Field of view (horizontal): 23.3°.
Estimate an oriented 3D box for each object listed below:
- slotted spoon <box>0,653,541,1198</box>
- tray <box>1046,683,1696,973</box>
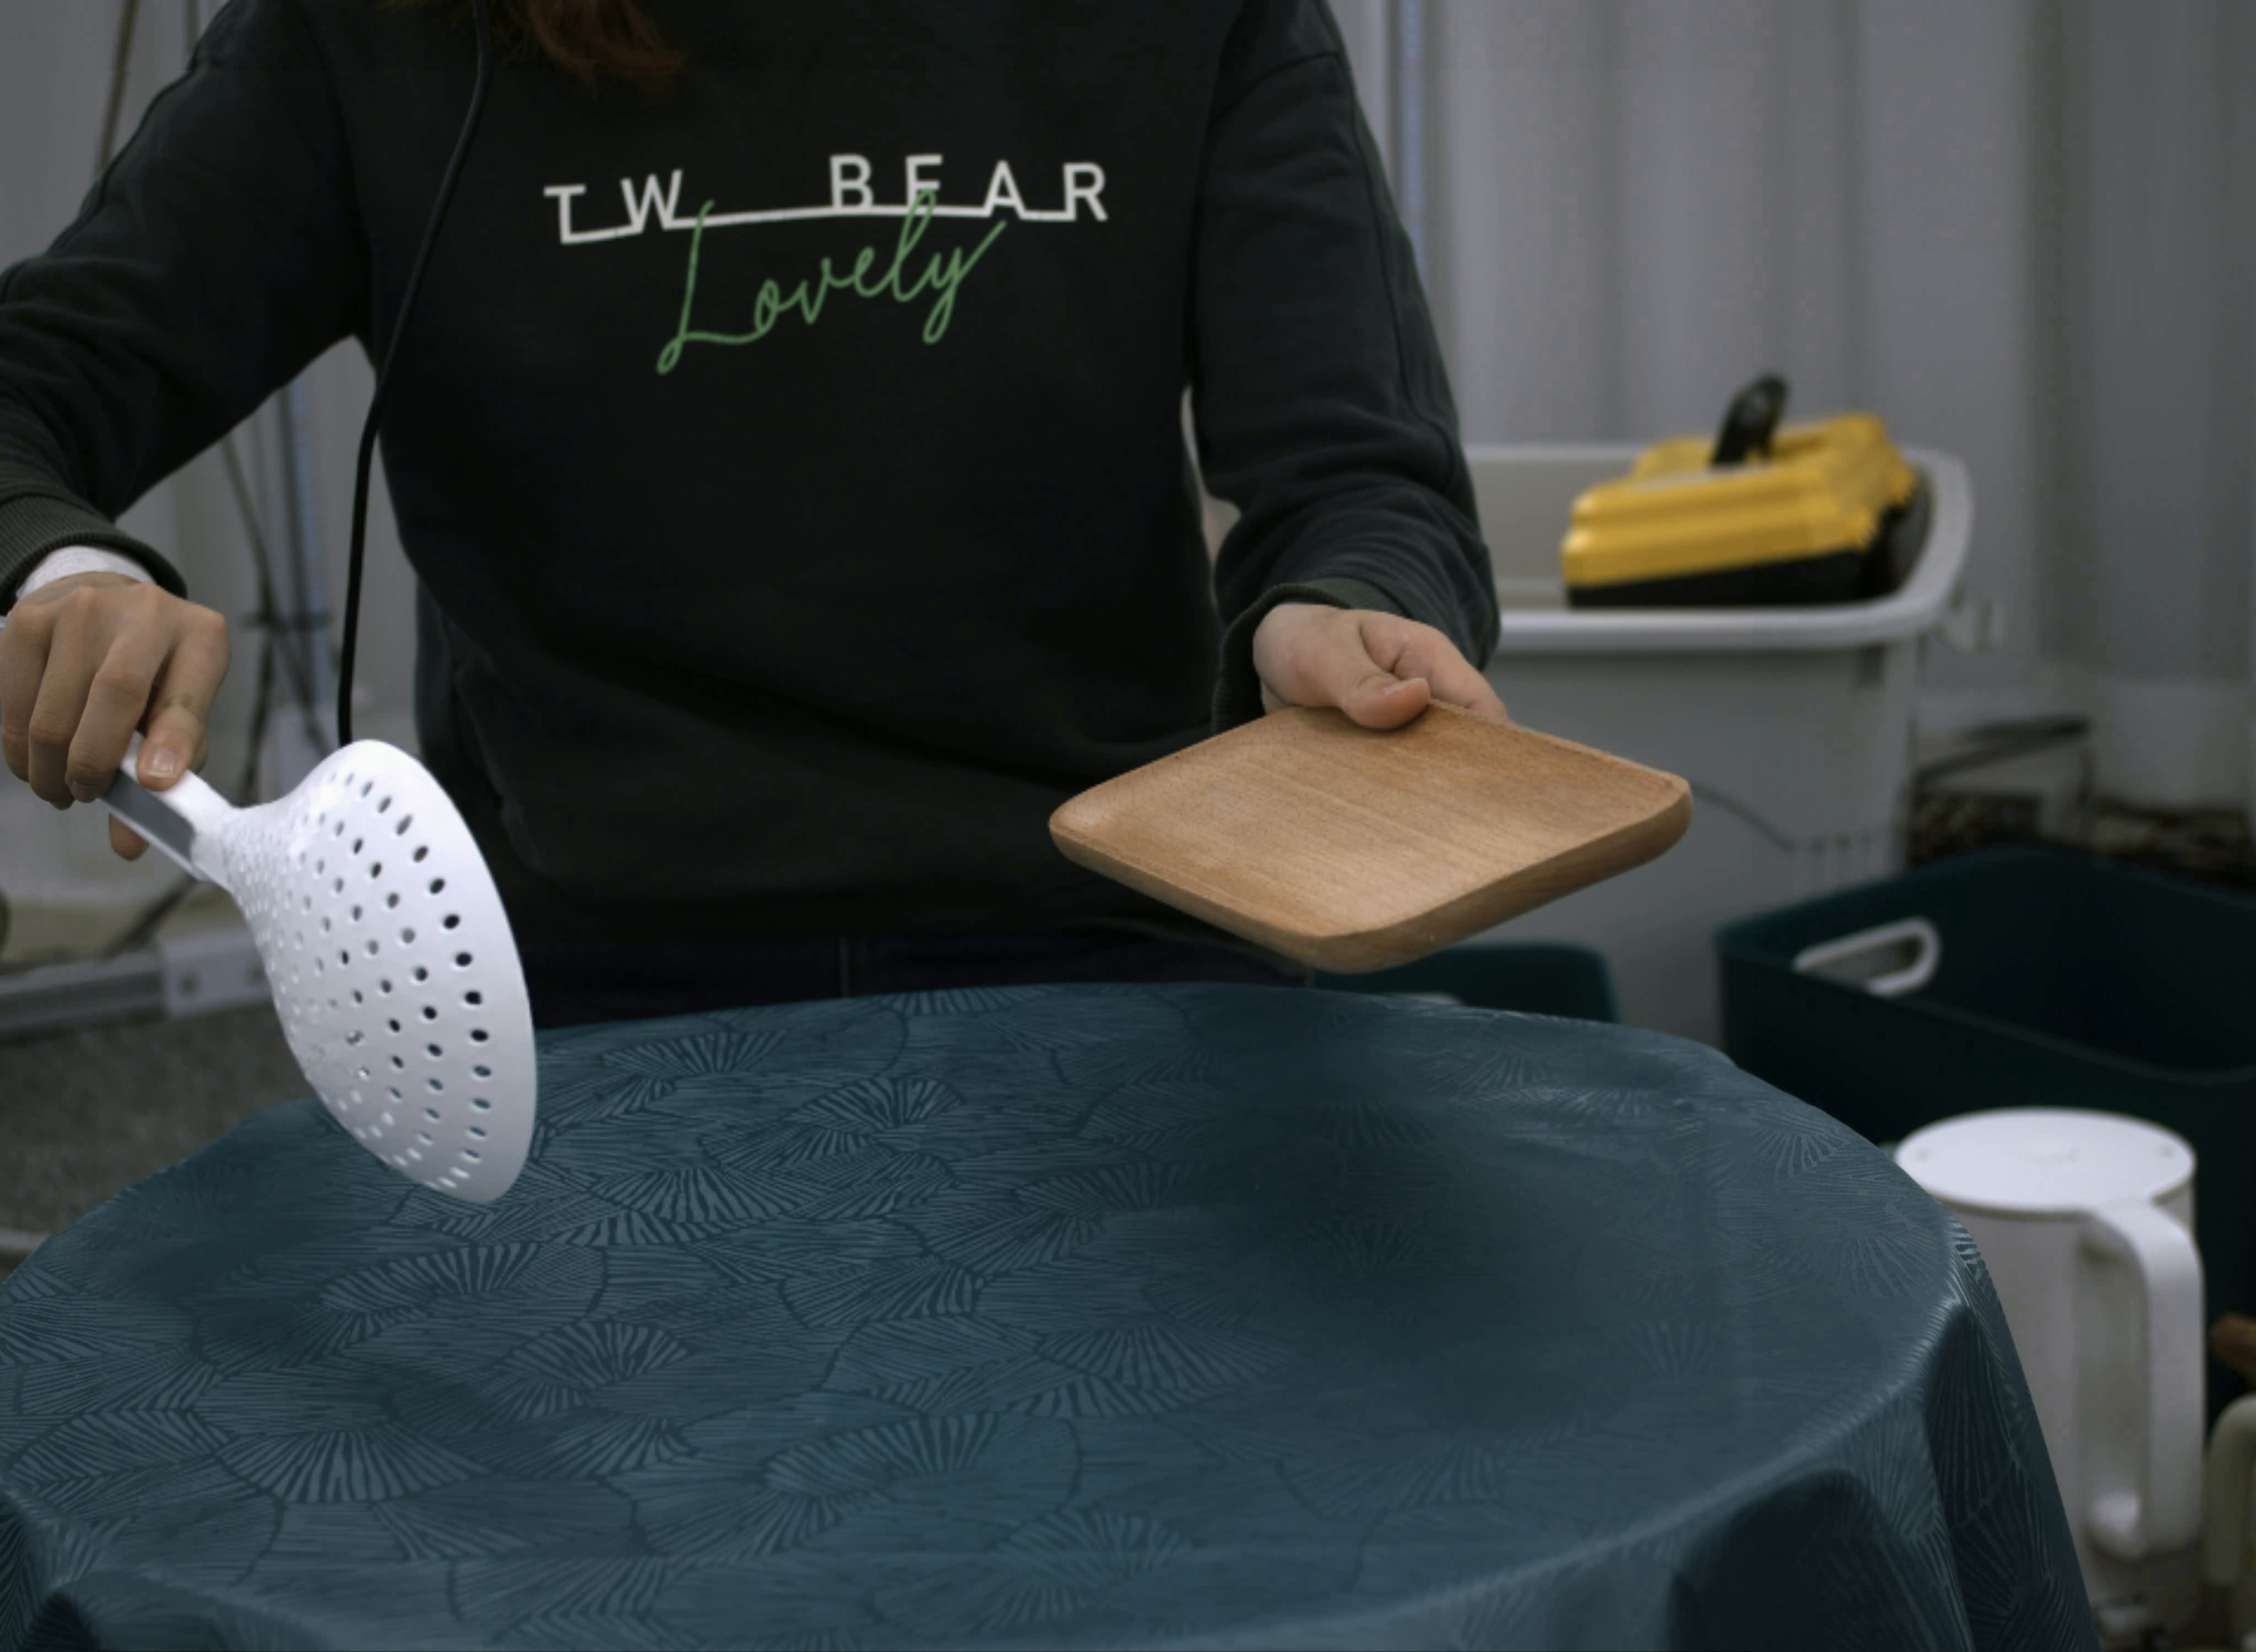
[{"bbox_3d":[-0.266,0.008,1.639,0.045,0.135,0.353,-11,24,-27],"label":"slotted spoon"},{"bbox_3d":[0.069,-0.001,1.646,0.130,0.023,0.252,-20,14,-17],"label":"tray"}]
